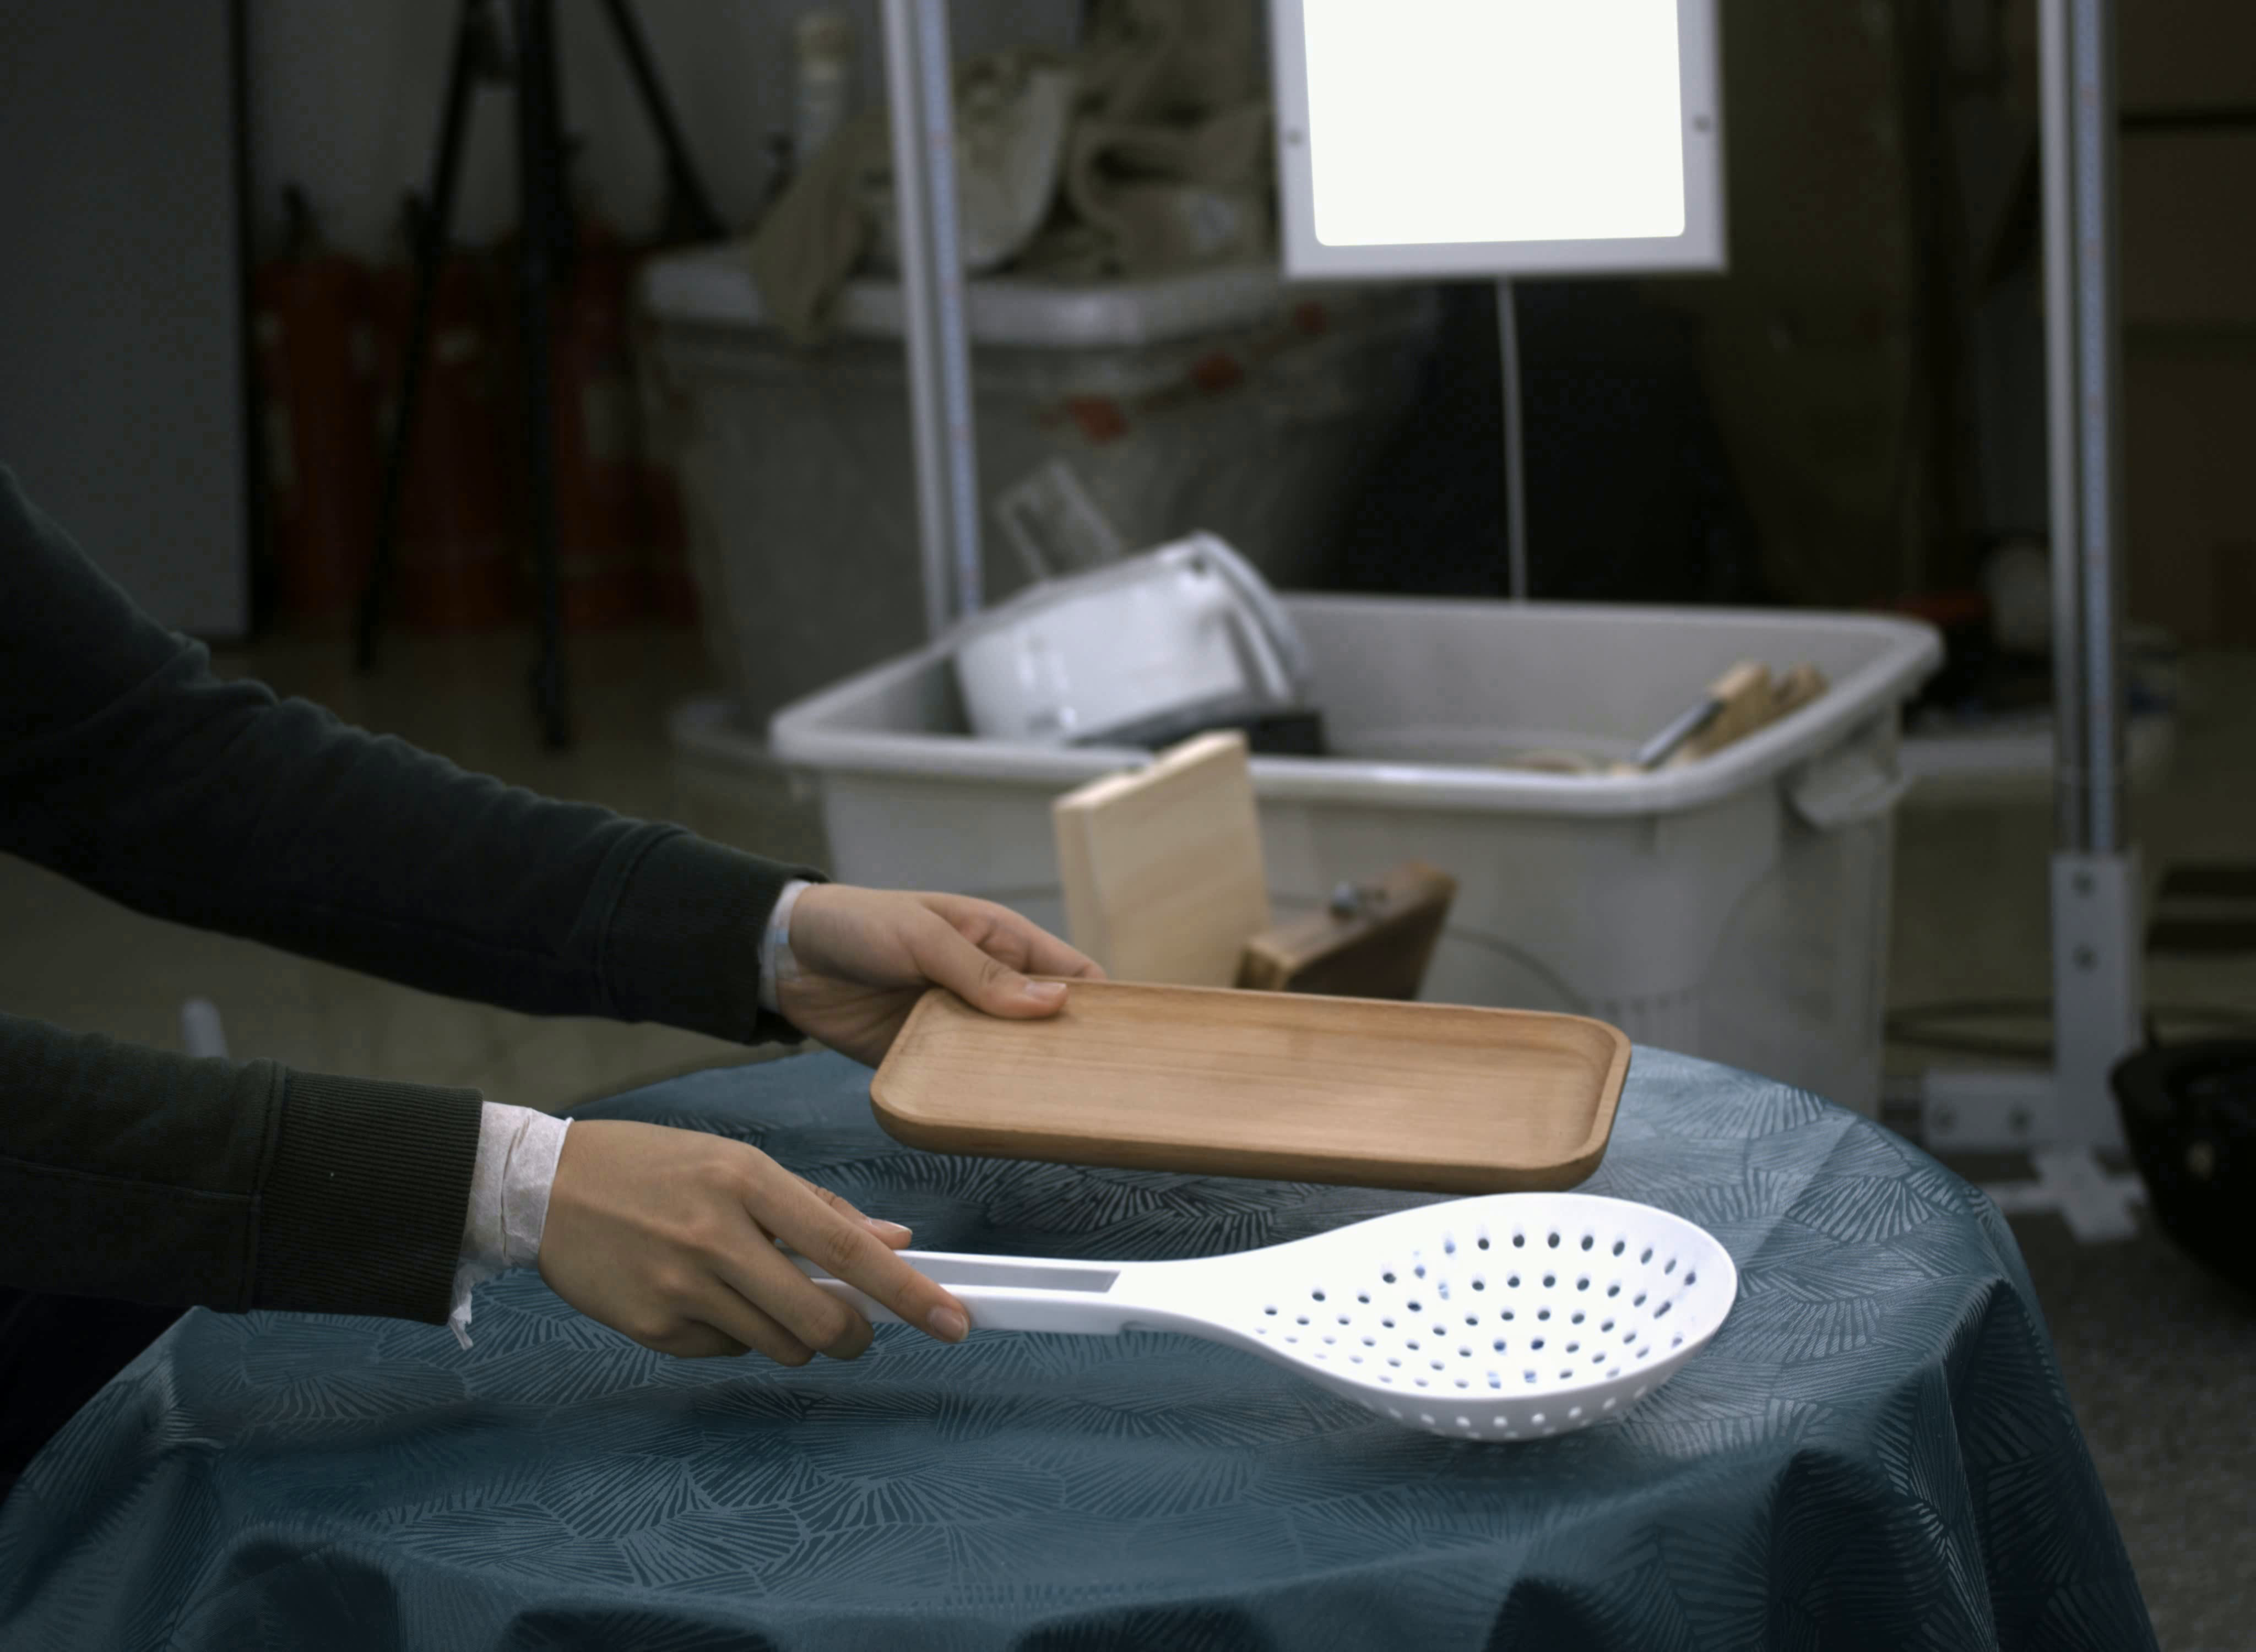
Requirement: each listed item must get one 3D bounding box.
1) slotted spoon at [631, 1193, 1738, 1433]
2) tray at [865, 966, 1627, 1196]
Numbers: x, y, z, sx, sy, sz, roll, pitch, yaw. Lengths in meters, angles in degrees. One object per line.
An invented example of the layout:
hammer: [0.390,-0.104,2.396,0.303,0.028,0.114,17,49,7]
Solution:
slotted spoon: [0.012,0.142,1.677,0.354,0.046,0.134,5,22,19]
tray: [0.041,0.086,1.866,0.253,0.023,0.129,3,21,14]
